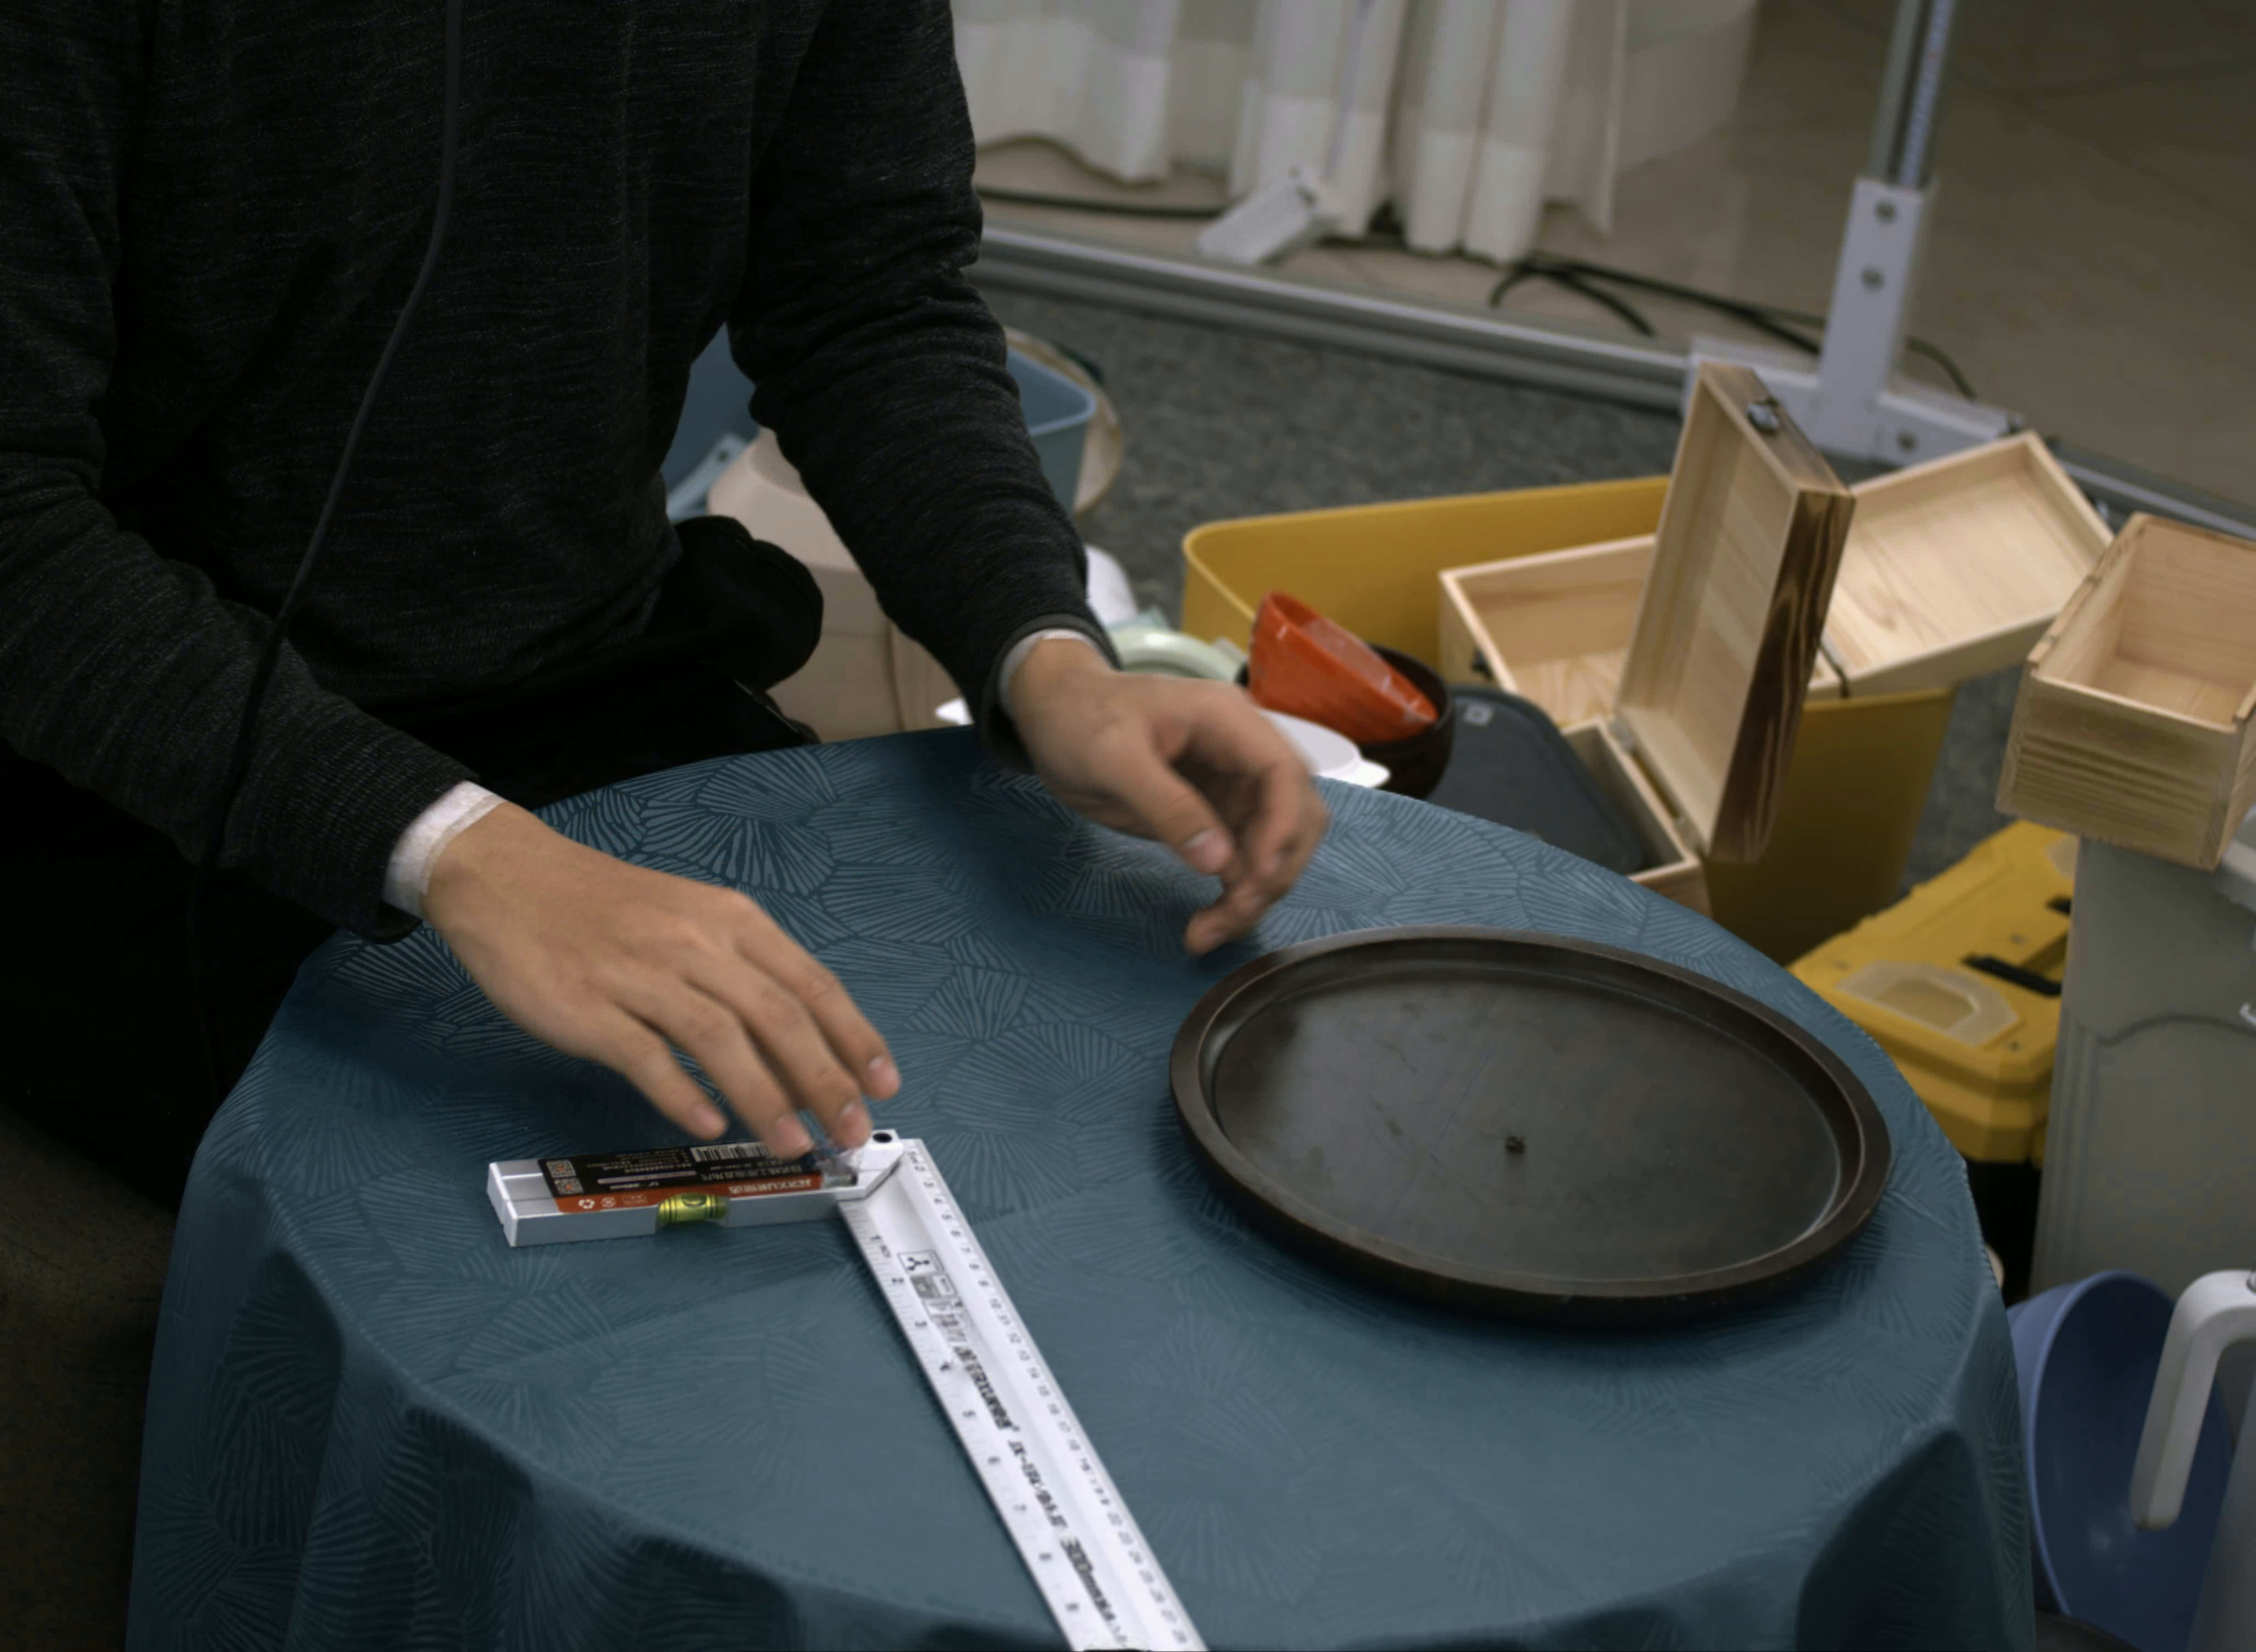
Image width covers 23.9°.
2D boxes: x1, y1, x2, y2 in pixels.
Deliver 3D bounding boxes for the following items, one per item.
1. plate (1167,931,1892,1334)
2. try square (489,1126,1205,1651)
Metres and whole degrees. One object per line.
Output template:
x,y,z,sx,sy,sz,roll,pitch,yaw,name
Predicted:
0.138,0.104,1.846,0.254,0.029,0.256,5,28,-3,plate
-0.091,0.186,1.656,0.151,0.016,0.316,-6,30,-18,try square
